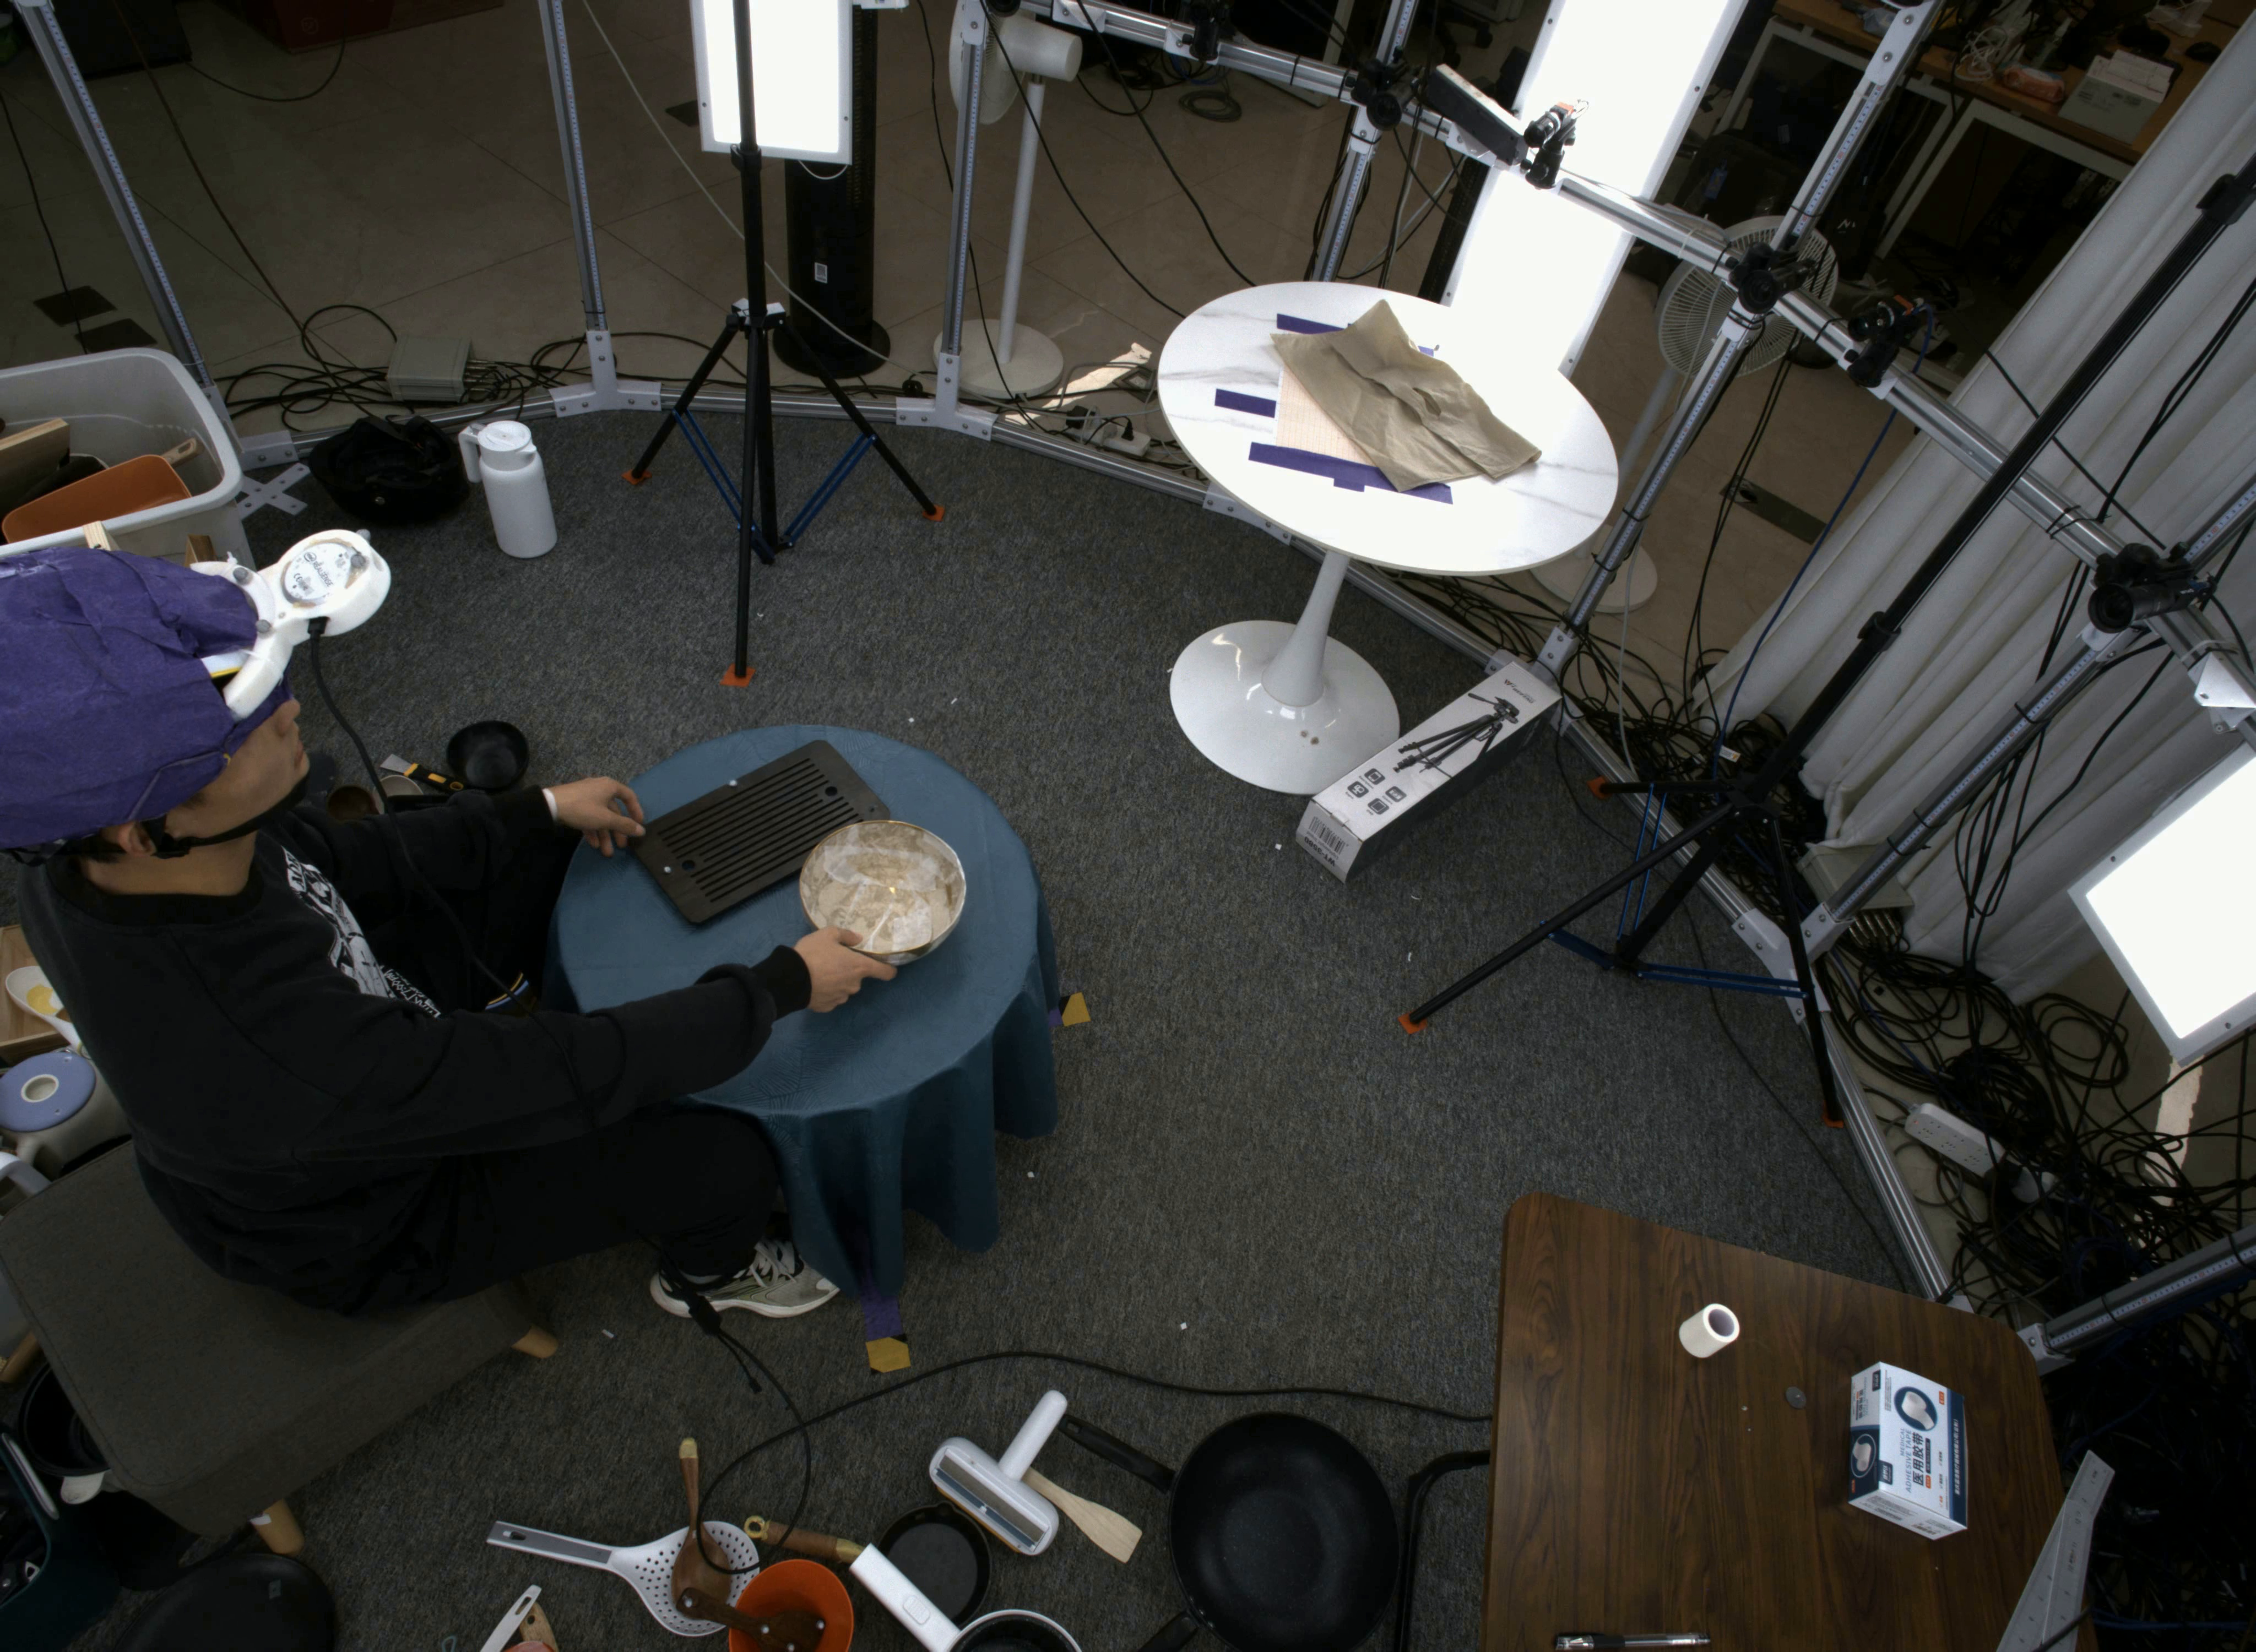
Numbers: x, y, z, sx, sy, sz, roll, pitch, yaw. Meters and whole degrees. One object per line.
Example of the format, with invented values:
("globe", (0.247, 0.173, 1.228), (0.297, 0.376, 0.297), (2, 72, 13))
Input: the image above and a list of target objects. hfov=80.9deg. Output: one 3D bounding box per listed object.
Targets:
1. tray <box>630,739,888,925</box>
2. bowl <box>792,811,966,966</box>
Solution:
("tray", (-0.482, 0.002, 1.702), (0.307, 0.019, 0.166), (-32, 67, -31))
("bowl", (-0.311, 0.094, 1.628), (0.214, 0.096, 0.211), (8, 54, -9))
